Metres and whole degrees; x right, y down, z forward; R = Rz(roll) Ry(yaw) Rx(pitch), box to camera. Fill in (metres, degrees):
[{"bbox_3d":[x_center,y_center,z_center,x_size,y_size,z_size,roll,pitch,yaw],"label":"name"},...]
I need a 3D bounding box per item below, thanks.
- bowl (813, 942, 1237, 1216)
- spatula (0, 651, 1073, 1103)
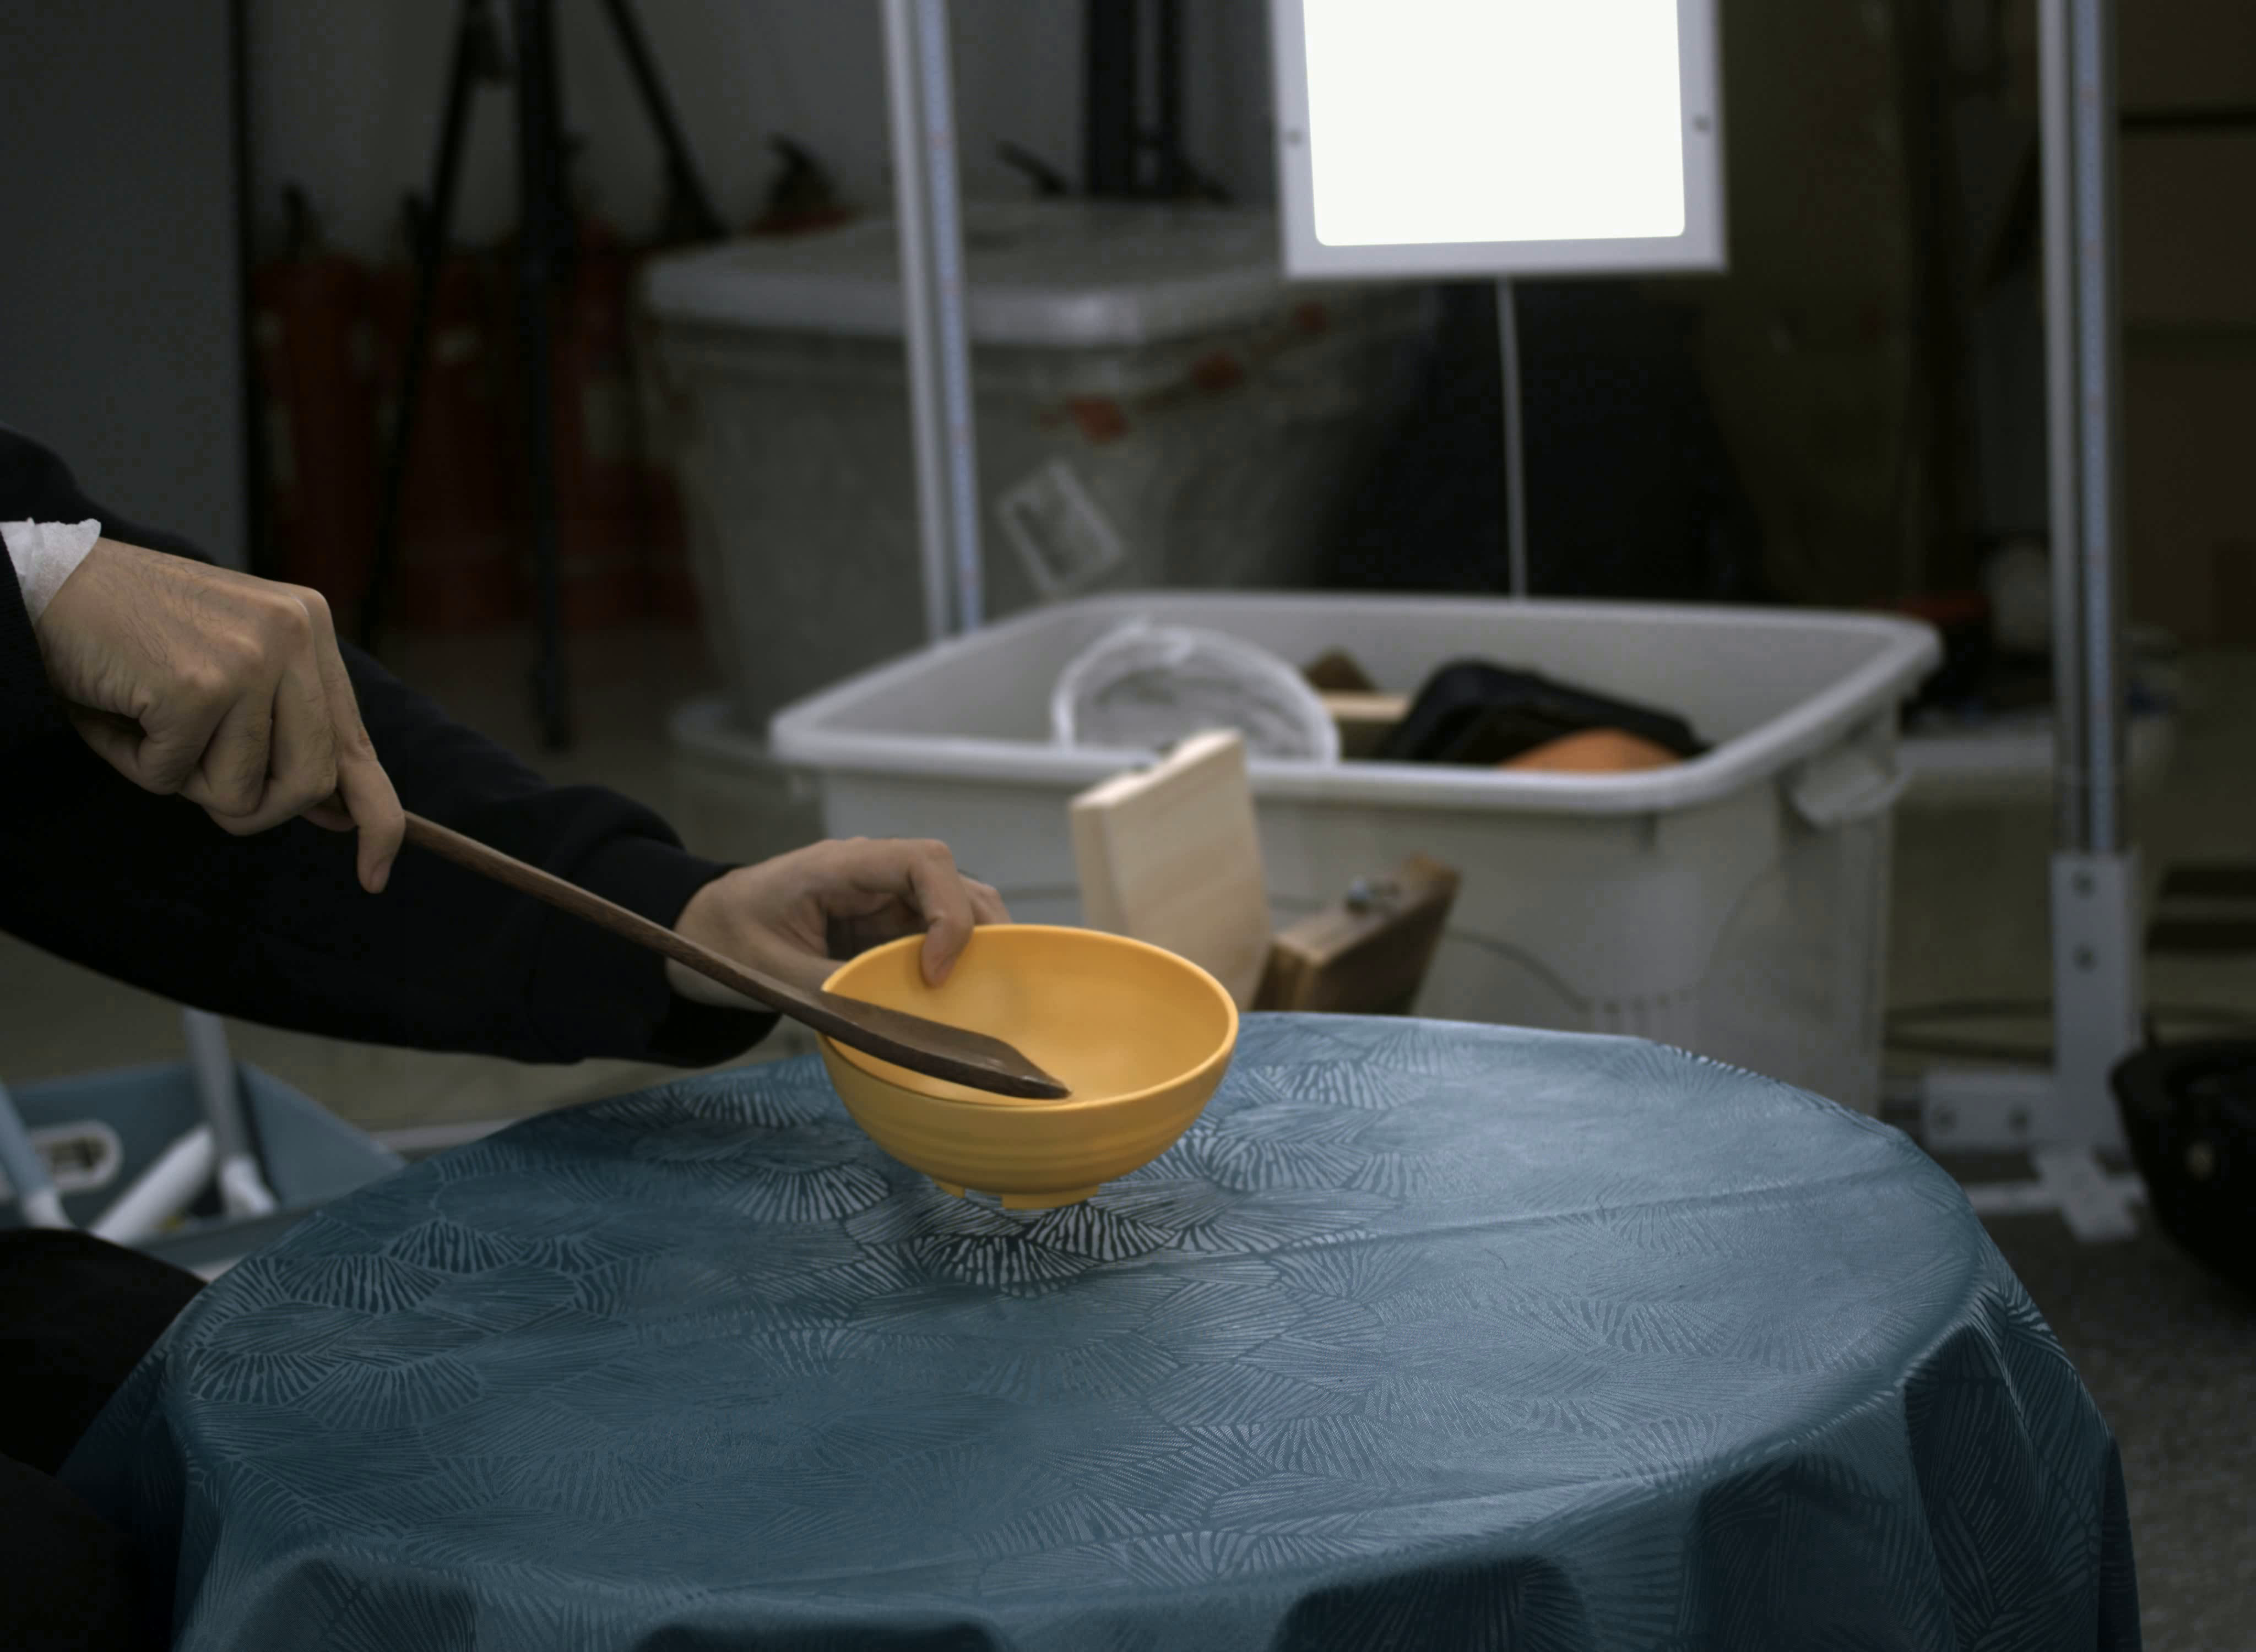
[{"bbox_3d":[-0.036,0.092,1.866,0.145,0.060,0.145,1,21,-2],"label":"bowl"},{"bbox_3d":[-0.193,0.018,1.798,0.382,0.016,0.097,23,2,-13],"label":"spatula"}]
